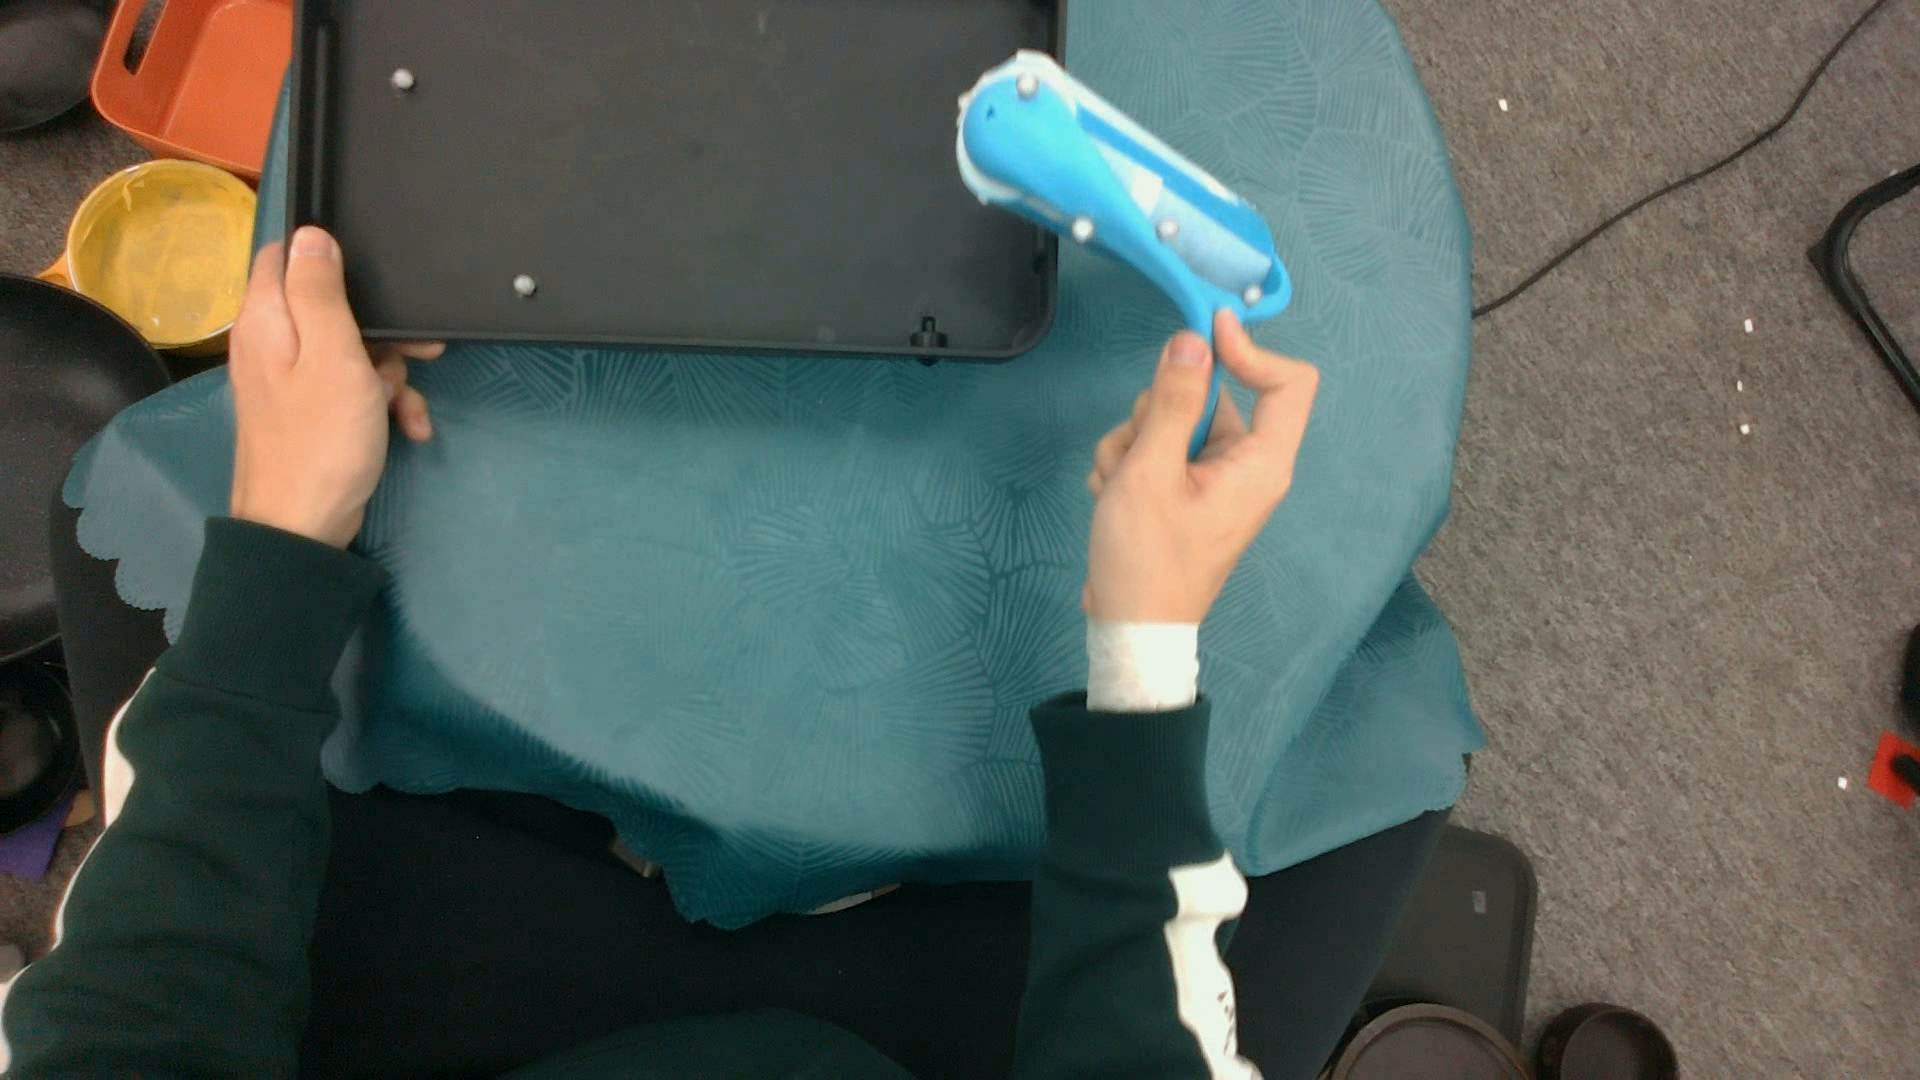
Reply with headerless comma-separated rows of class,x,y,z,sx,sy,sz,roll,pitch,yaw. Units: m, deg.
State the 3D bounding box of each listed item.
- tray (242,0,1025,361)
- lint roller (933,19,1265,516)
tray,-0.134,-0.171,0.591,0.318,0.037,0.184,-2,90,-6
lint roller,0.073,-0.104,0.580,0.067,0.229,0.180,-13,83,30
